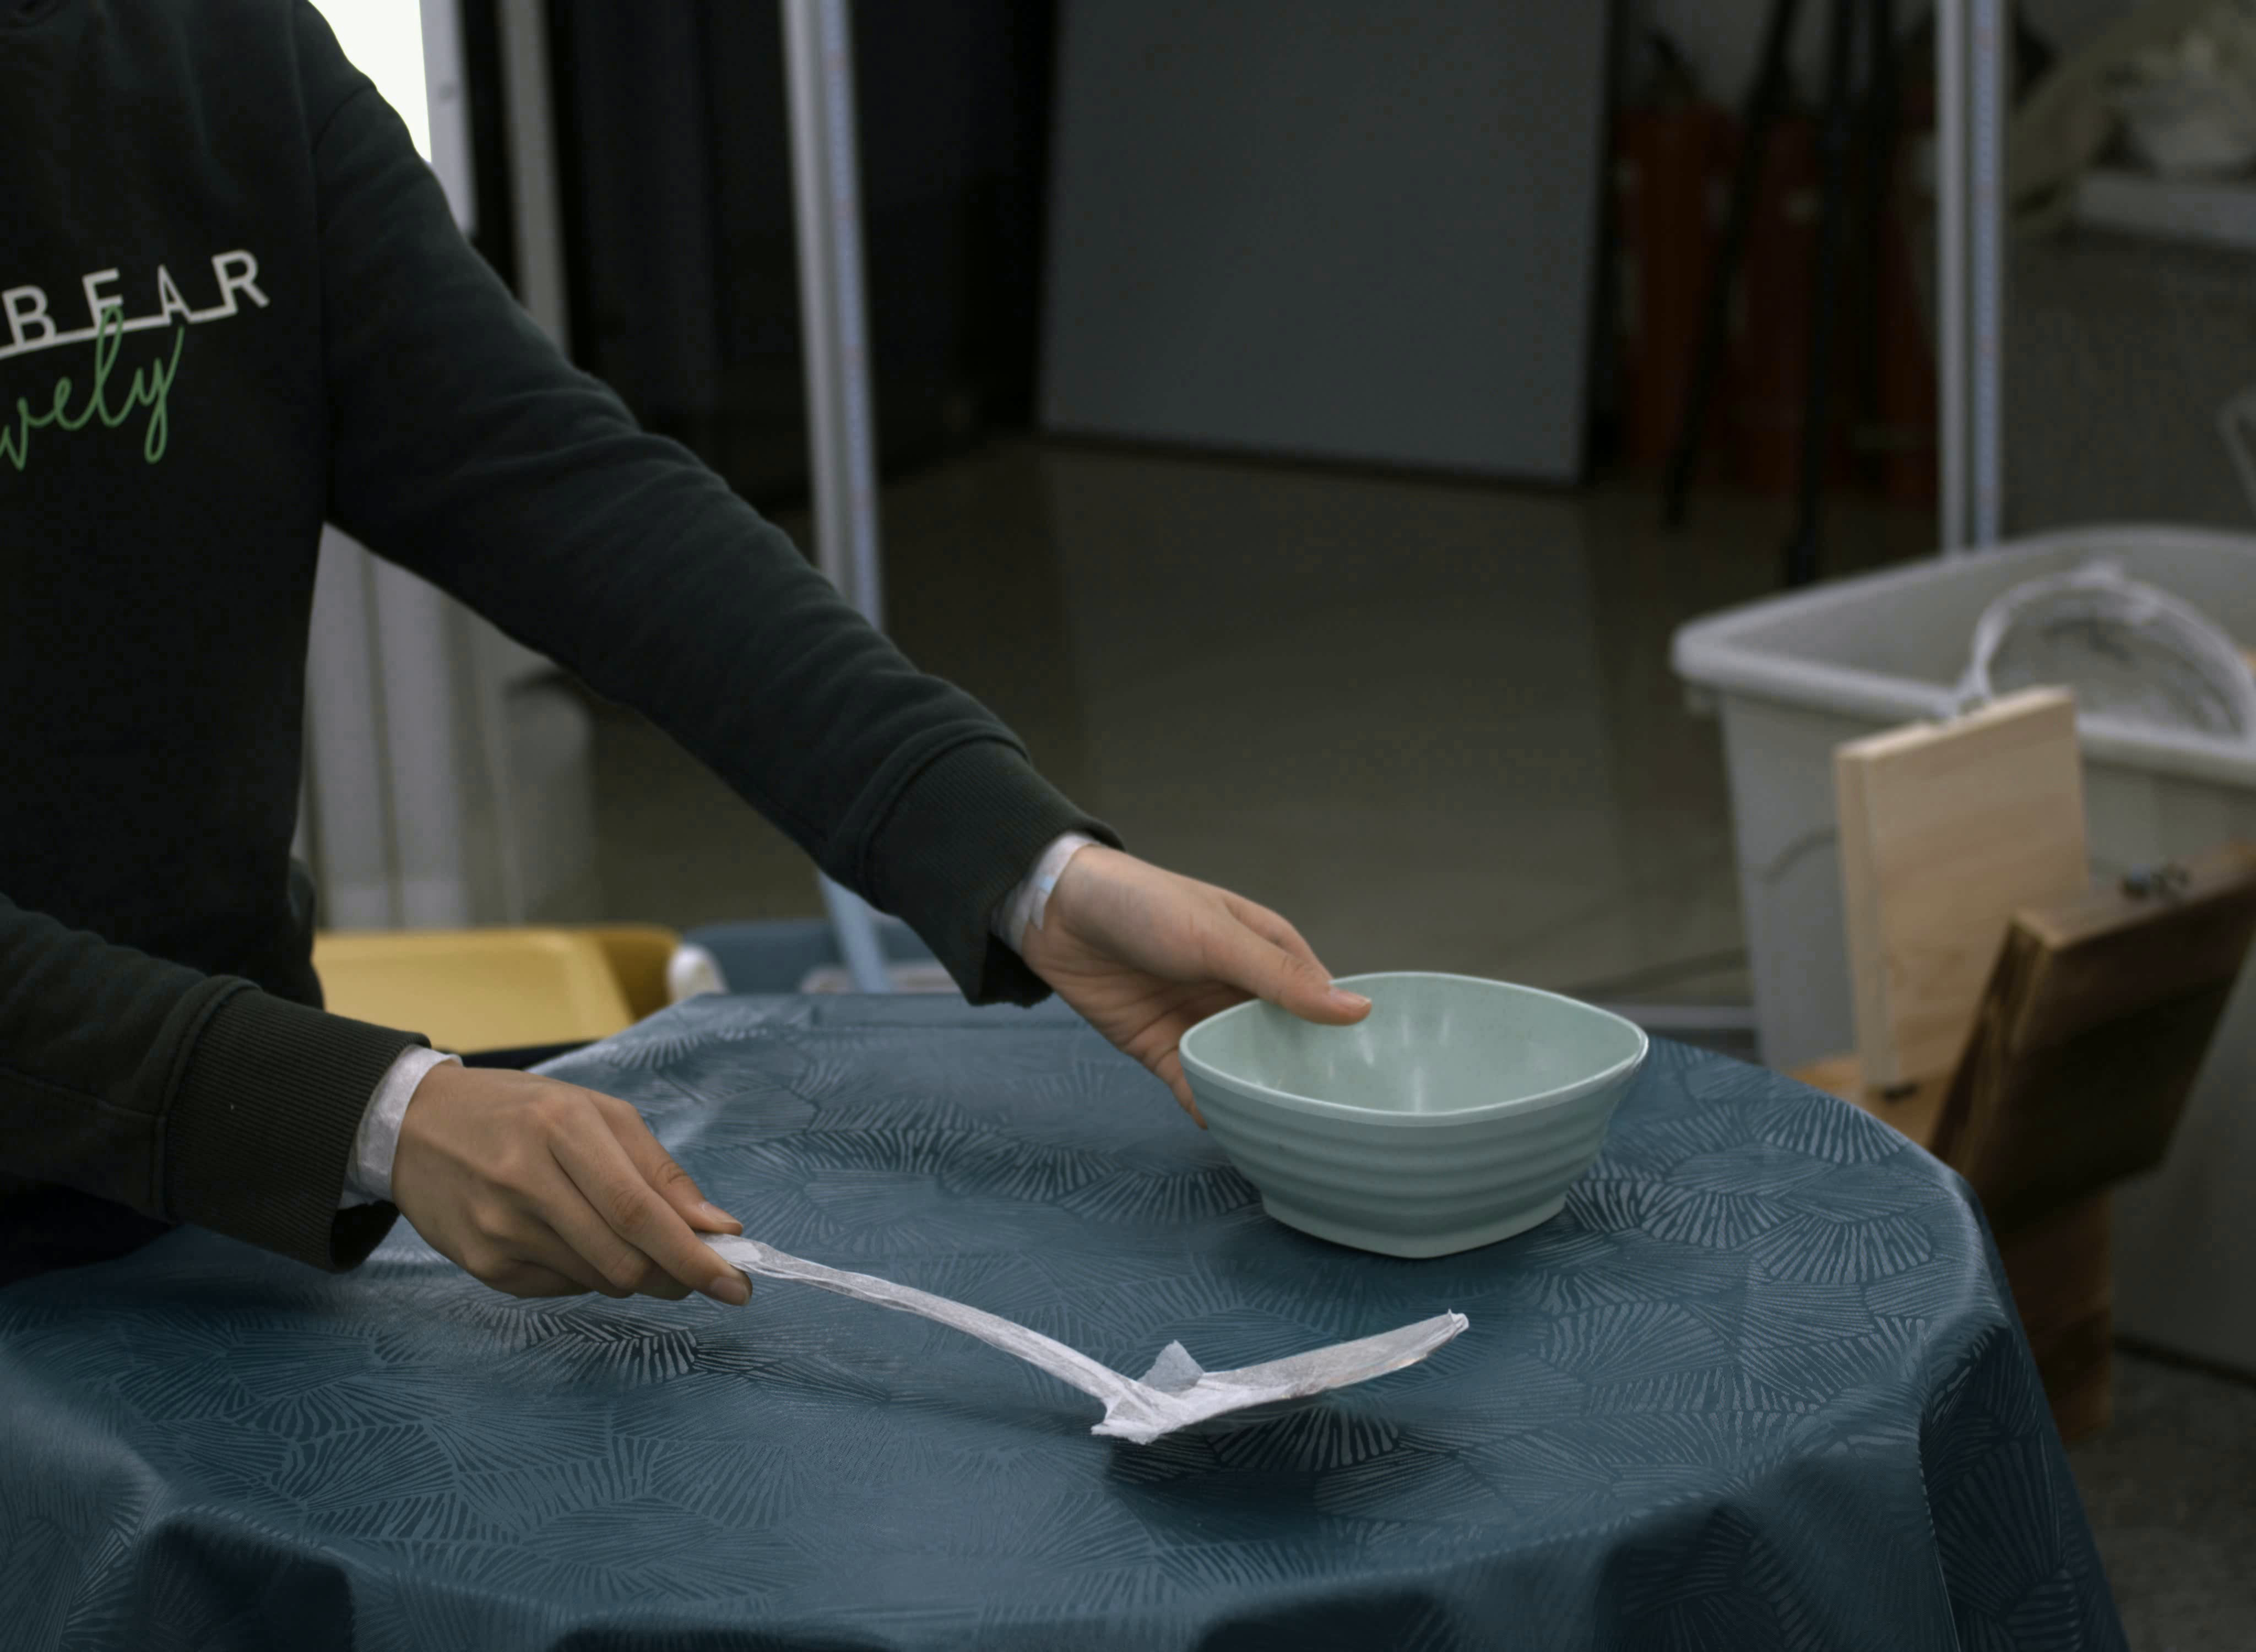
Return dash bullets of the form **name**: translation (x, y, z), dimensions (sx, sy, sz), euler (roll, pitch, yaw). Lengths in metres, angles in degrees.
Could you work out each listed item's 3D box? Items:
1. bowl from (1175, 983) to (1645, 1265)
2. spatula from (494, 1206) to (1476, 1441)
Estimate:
- **bowl**: translation (0.090, 0.098, 1.719), dimensions (0.149, 0.059, 0.152), euler (-1, 14, -1)
- **spatula**: translation (-0.062, 0.136, 1.600), dimensions (0.367, 0.045, 0.097), euler (11, 19, 37)
